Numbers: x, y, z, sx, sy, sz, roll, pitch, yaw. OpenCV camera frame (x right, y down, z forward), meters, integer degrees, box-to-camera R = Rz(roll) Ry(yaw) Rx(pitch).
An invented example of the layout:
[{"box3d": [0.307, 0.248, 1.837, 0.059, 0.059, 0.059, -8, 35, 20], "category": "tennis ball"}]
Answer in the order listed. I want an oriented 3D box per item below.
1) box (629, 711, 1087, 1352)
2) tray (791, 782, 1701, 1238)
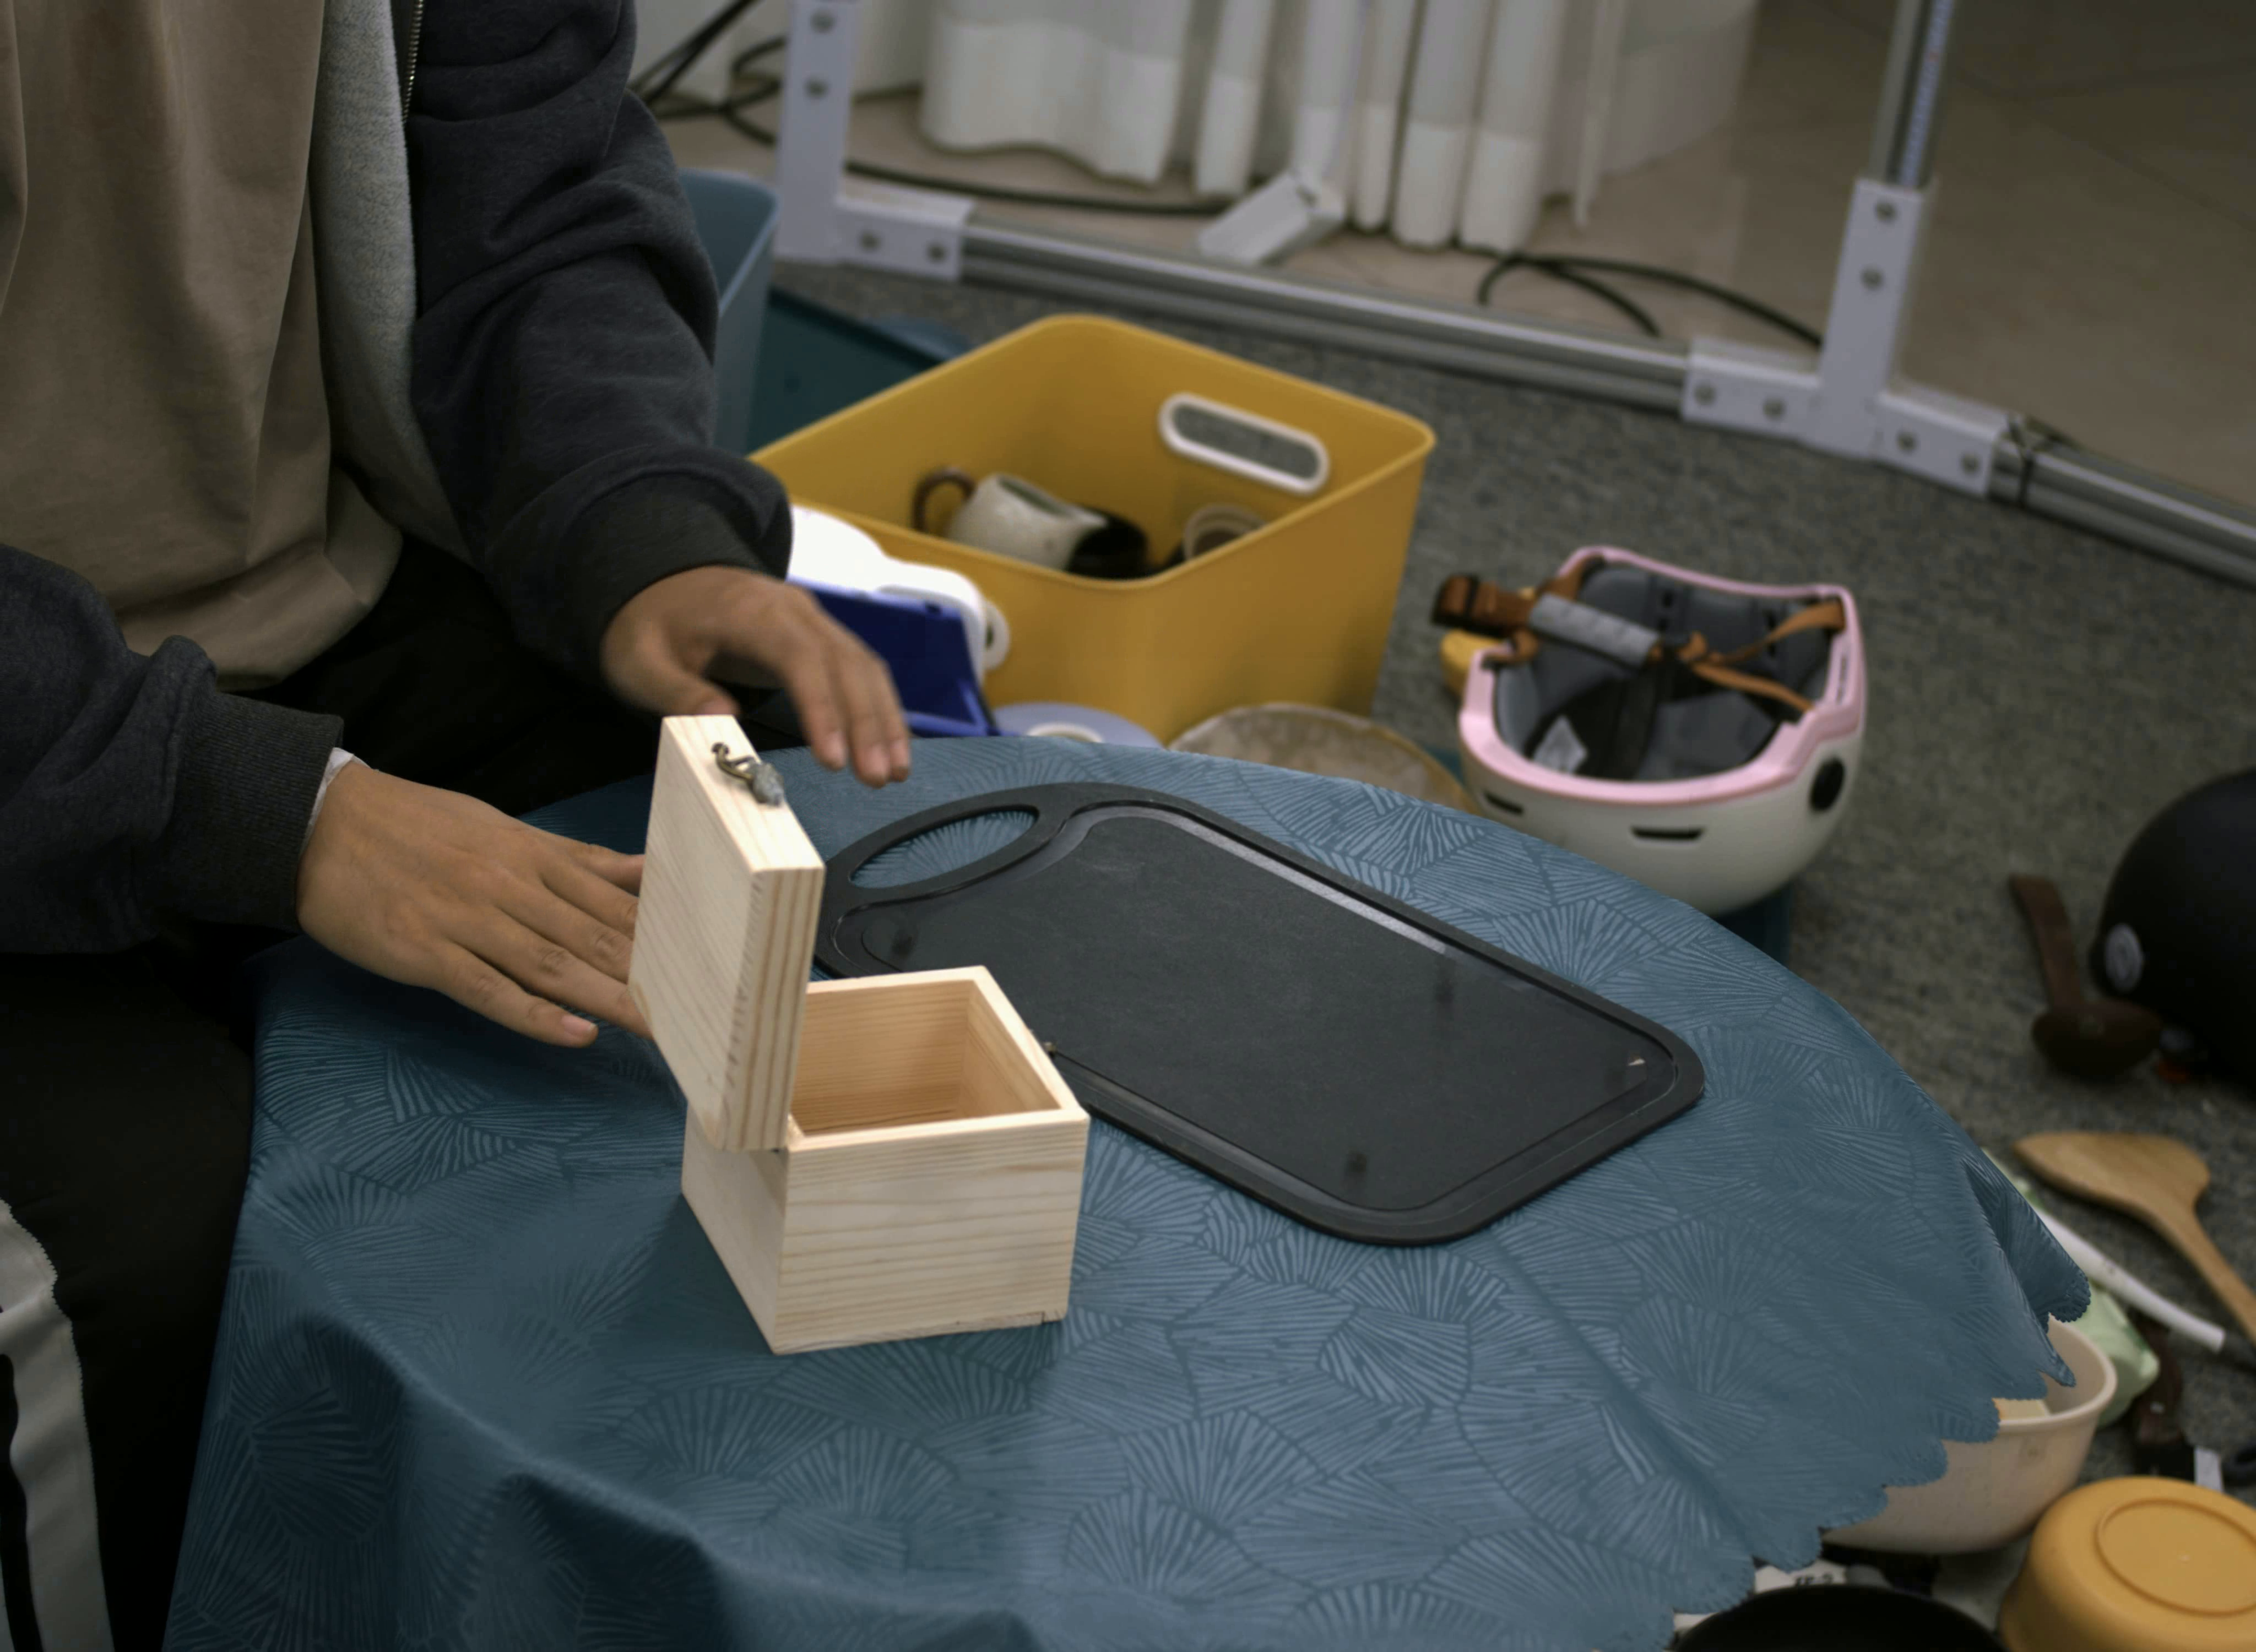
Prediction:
[{"box3d": [-0.084, 0.061, 1.702, 0.133, 0.184, 0.103, -5, 30, -20], "category": "box"}, {"box3d": [0.034, 0.058, 1.931, 0.328, 0.010, 0.210, 26, 33, 34], "category": "tray"}]
